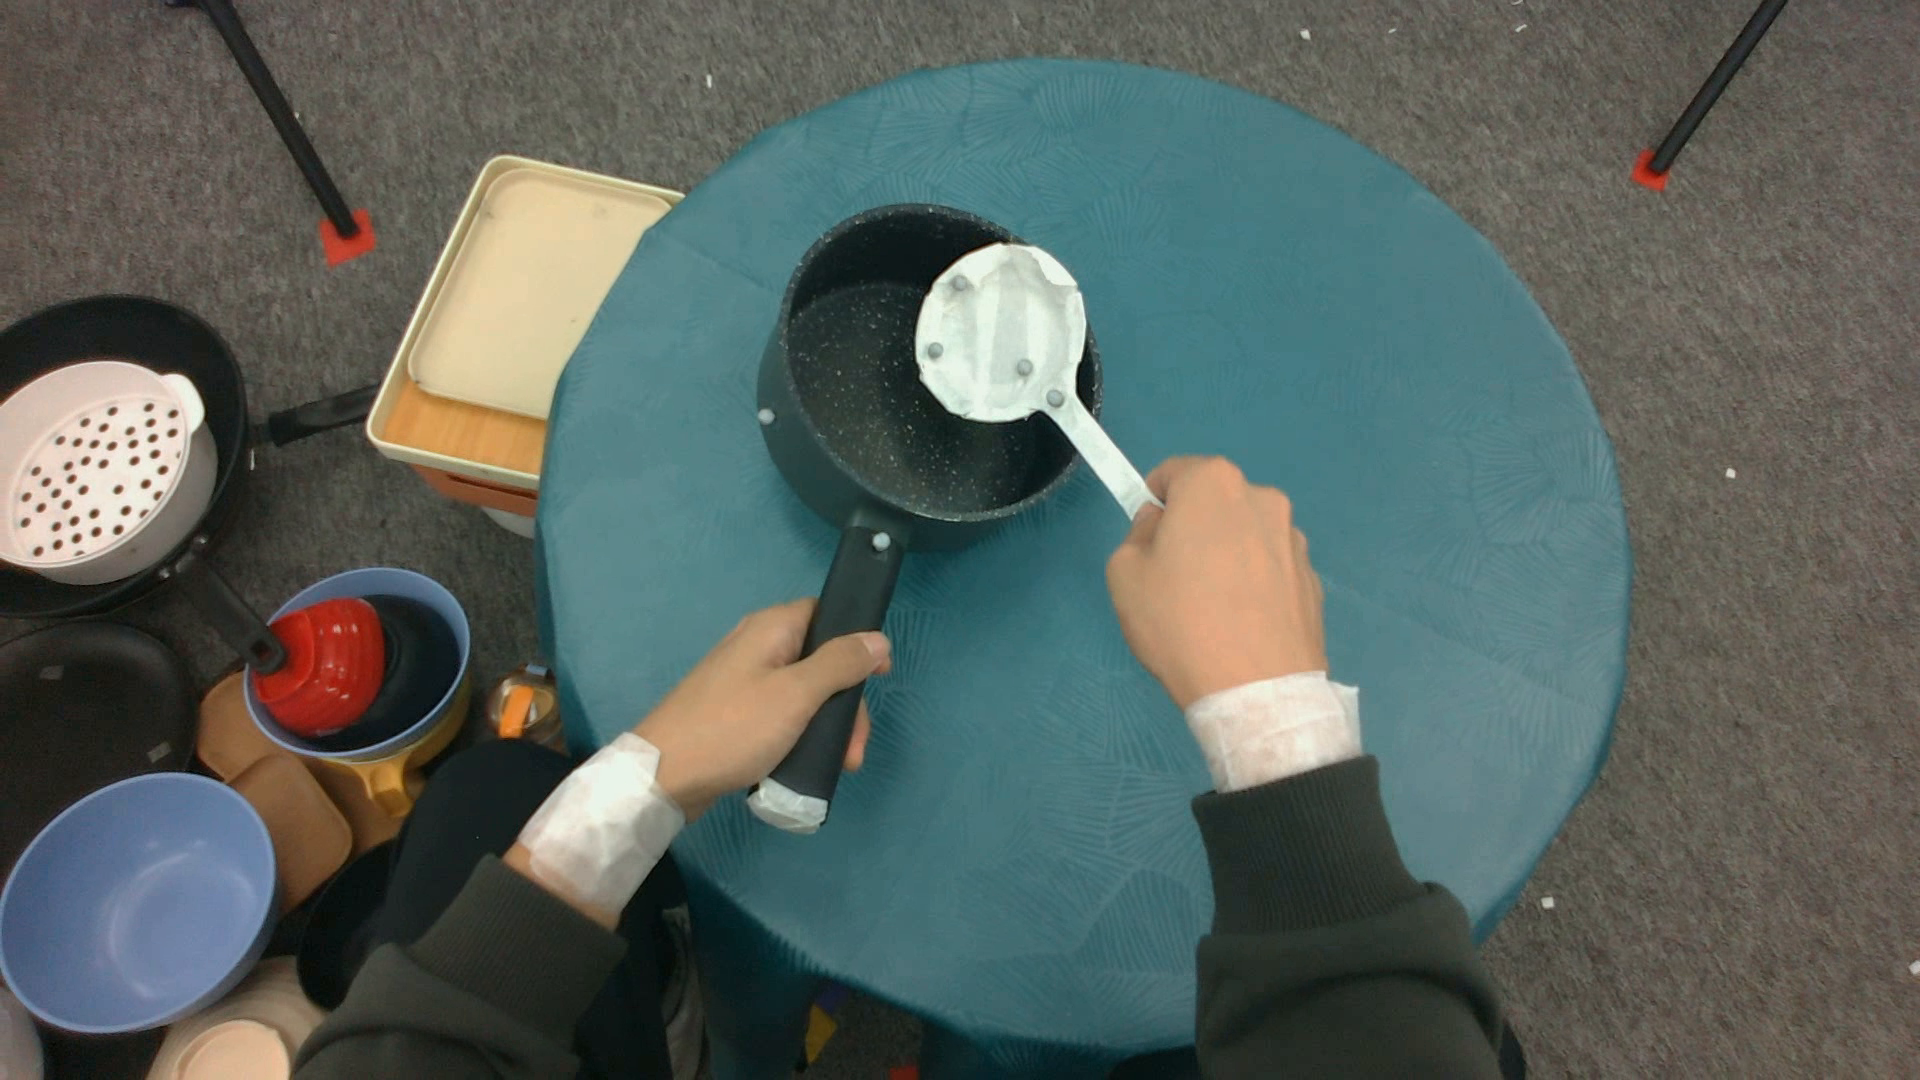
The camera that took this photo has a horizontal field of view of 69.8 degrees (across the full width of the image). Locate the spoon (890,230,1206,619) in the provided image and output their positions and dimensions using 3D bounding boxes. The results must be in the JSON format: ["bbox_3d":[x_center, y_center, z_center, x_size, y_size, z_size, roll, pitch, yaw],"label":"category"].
[{"bbox_3d":[0.033,-0.057,0.632,0.100,0.059,0.278,-43,36,12],"label":"spoon"}]

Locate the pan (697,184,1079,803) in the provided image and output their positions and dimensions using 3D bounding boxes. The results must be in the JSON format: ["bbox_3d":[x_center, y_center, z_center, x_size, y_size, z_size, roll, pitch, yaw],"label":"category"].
[{"bbox_3d":[-0.055,-0.022,0.677,0.172,0.086,0.330,25,63,-11],"label":"pan"}]
